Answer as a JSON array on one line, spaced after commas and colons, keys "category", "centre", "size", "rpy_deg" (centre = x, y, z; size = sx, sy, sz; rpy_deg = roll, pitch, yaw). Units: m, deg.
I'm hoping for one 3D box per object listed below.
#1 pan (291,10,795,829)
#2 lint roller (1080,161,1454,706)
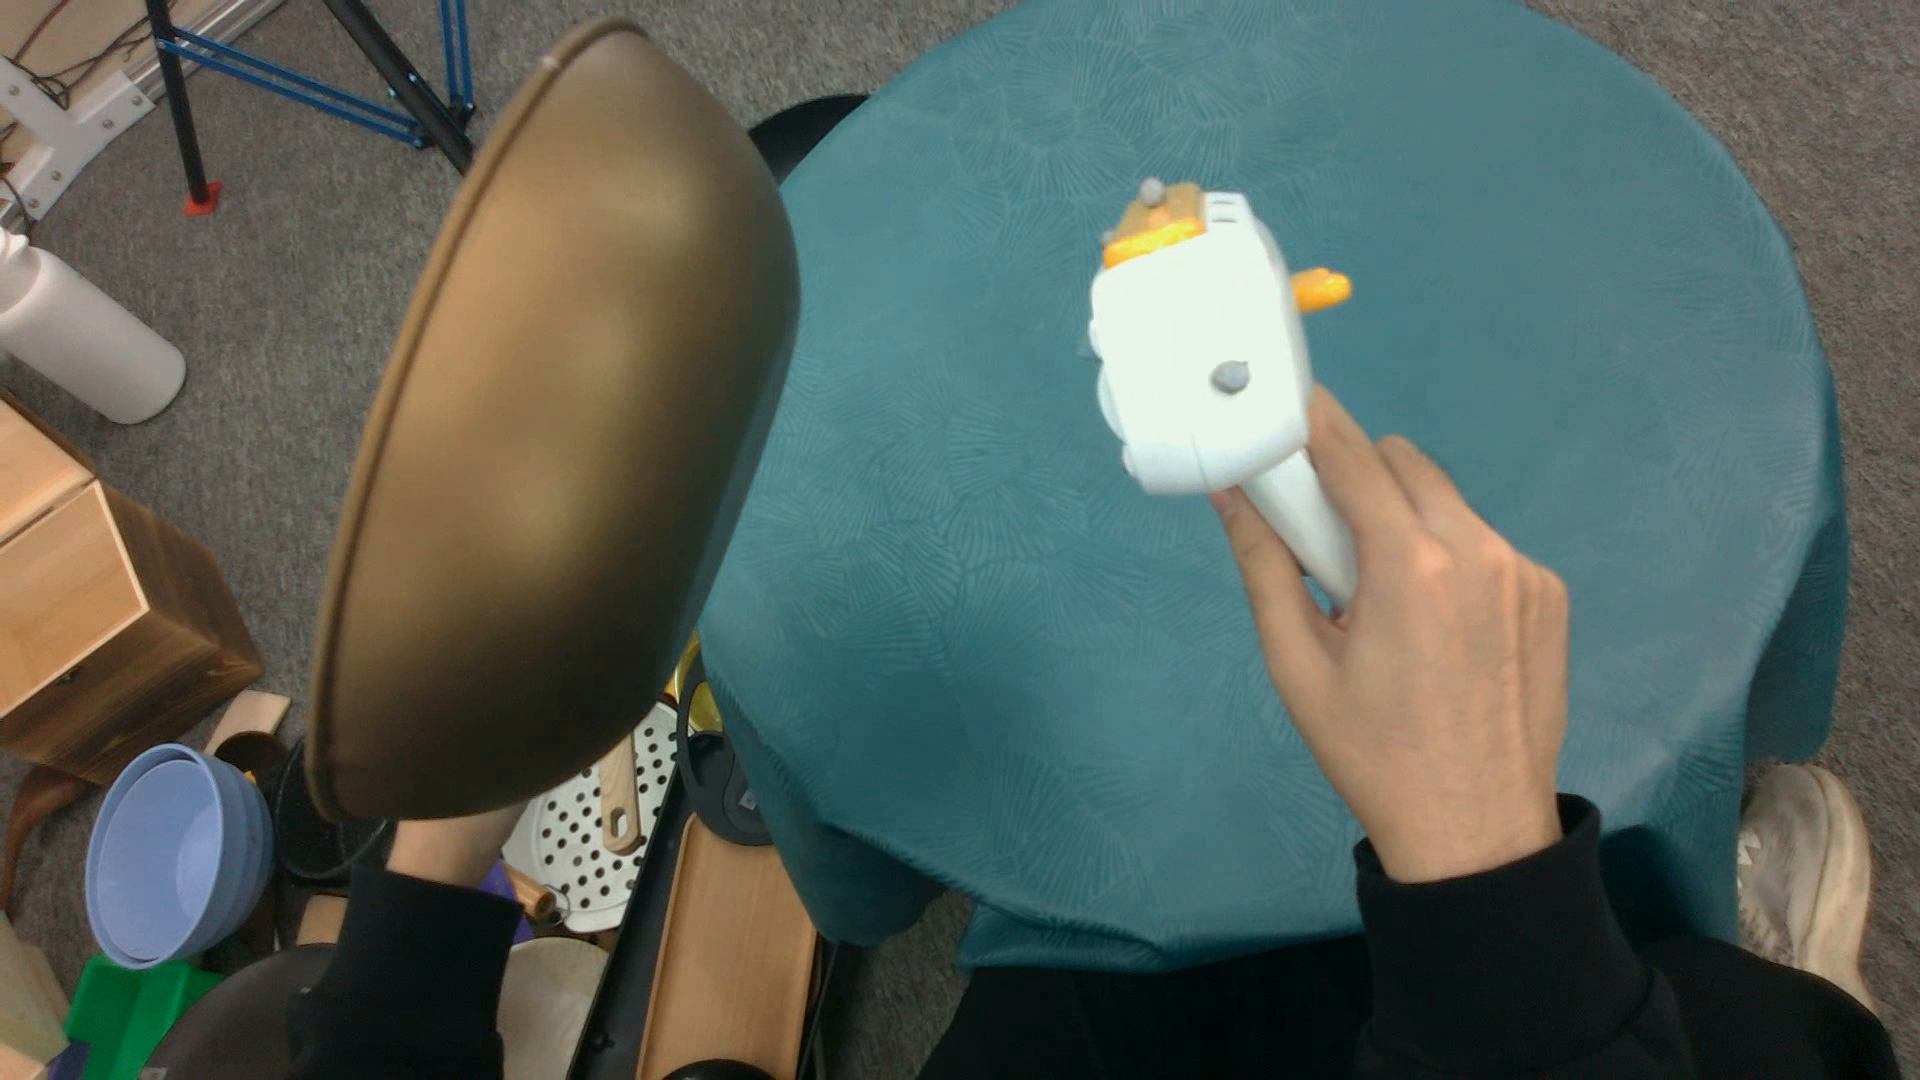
[{"category": "pan", "centre": [-0.153, 0.023, 0.545], "size": [0.087, 0.461, 0.289], "rpy_deg": [21, 48, -7]}, {"category": "lint roller", "centre": [0.098, -0.023, 0.435], "size": [0.074, 0.192, 0.193], "rpy_deg": [-23, 17, 11]}]
